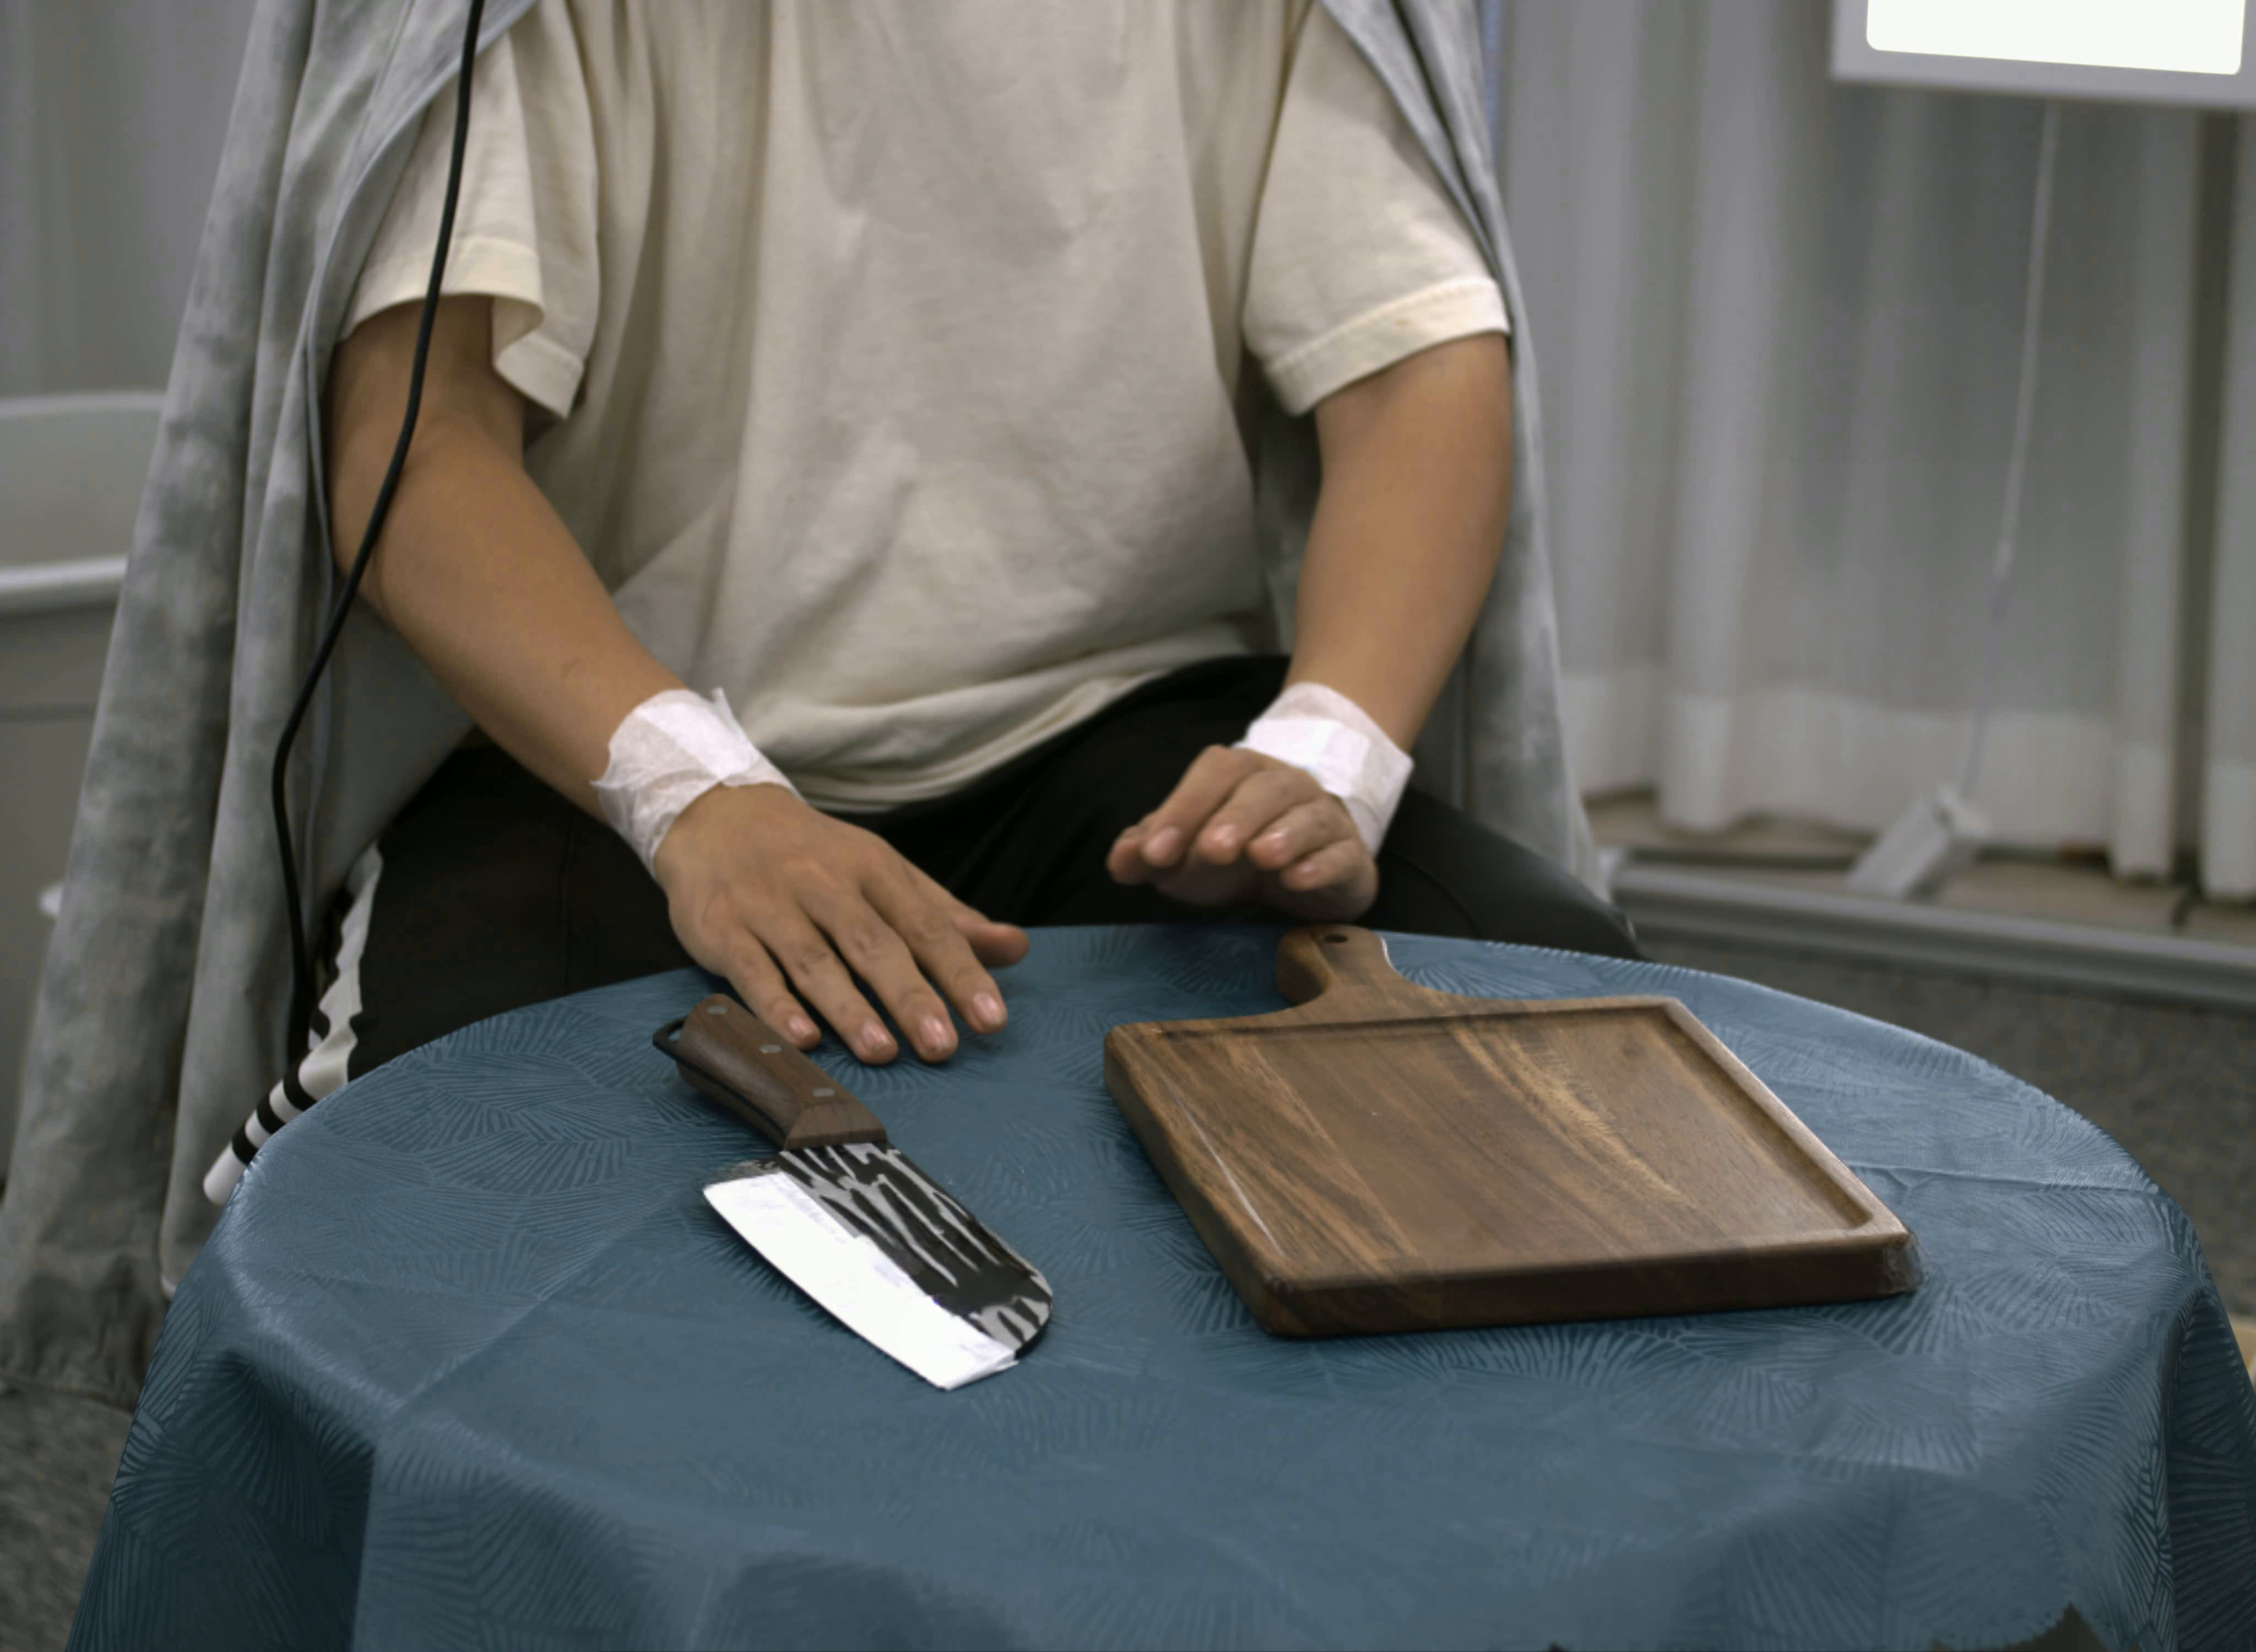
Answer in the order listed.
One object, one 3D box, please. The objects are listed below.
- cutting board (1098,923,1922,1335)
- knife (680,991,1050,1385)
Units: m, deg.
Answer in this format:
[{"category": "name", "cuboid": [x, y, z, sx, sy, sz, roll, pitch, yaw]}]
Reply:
[{"category": "cutting board", "cuboid": [0.102, 0.088, 1.679, 0.201, 0.023, 0.349, -3, 15, -12]}, {"category": "knife", "cuboid": [-0.093, 0.109, 1.598, 0.068, 0.024, 0.296, -8, 20, -23]}]
